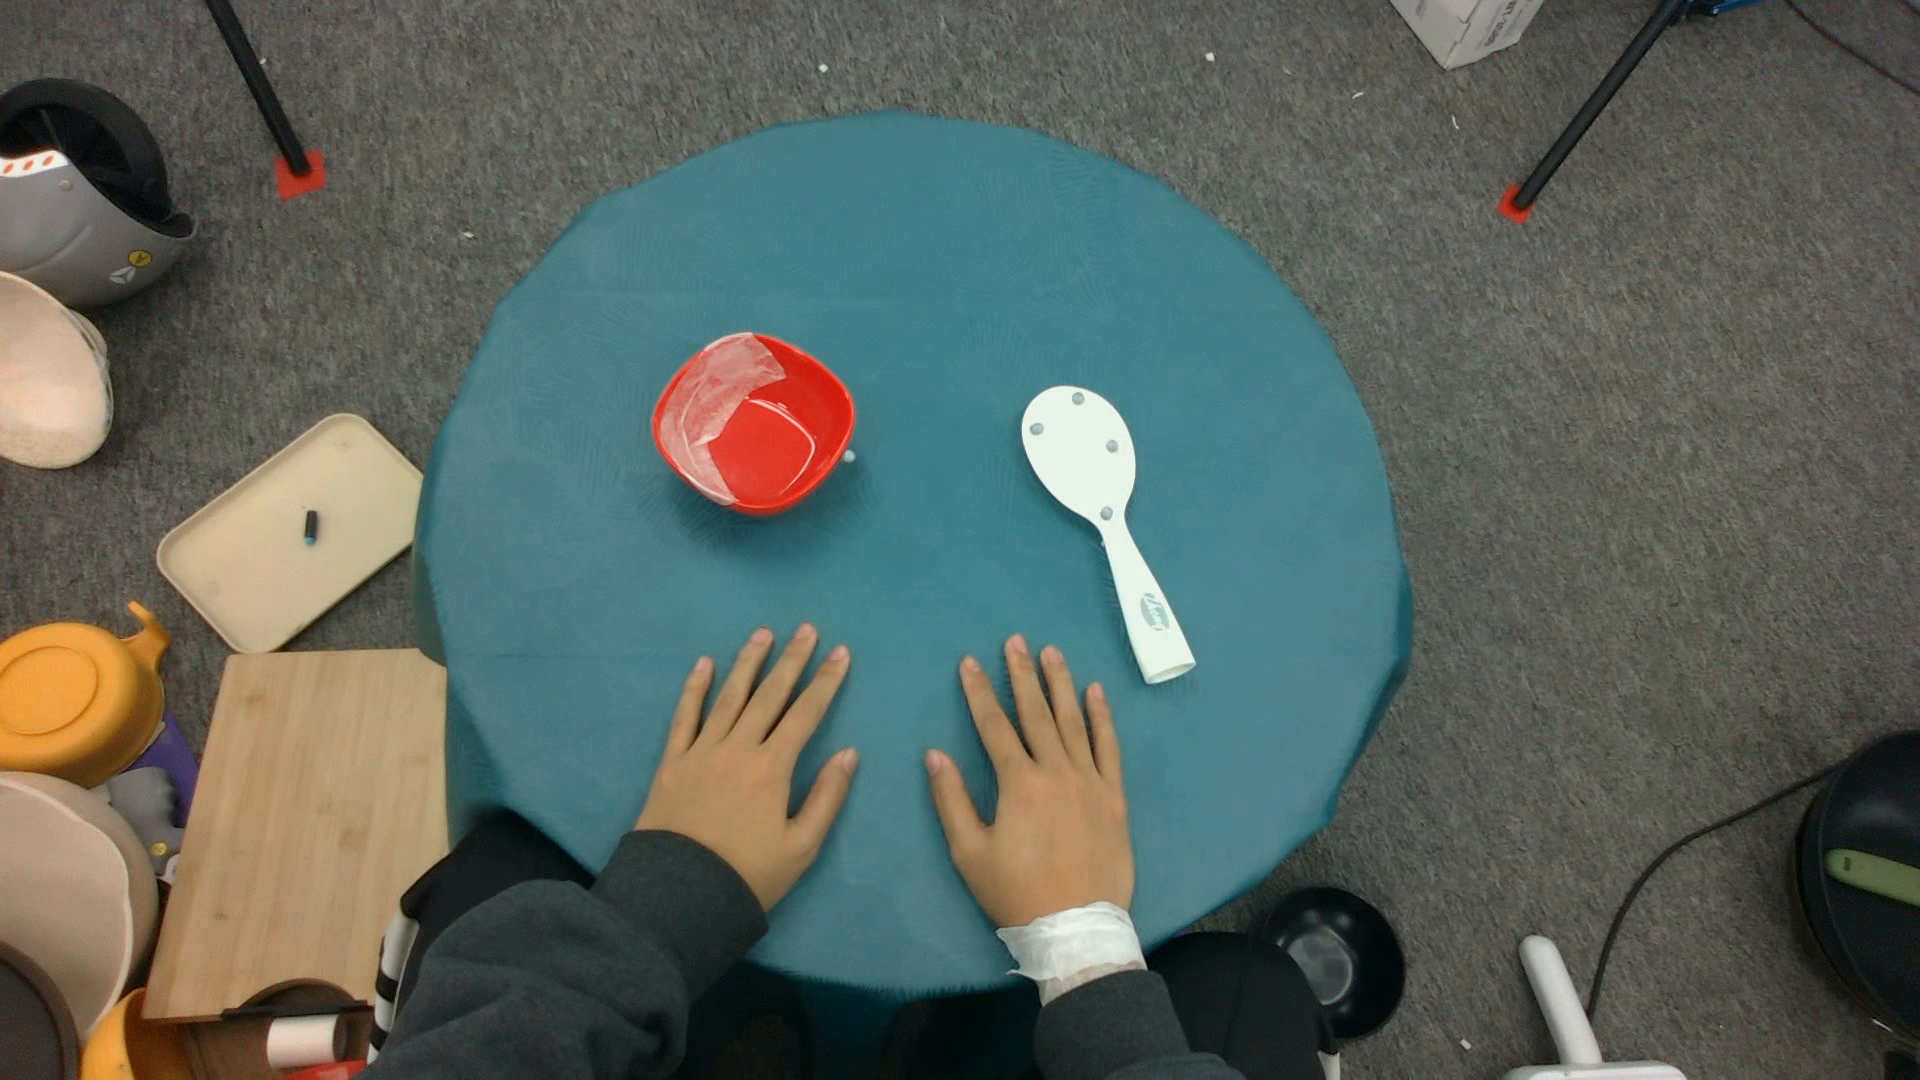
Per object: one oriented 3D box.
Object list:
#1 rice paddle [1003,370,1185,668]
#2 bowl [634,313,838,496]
[{"bbox_3d":[0.083,-0.020,0.844,0.069,0.029,0.205,-16,69,-16],"label":"rice paddle"},{"bbox_3d":[-0.133,-0.073,0.826,0.119,0.051,0.119,3,65,-7],"label":"bowl"}]
